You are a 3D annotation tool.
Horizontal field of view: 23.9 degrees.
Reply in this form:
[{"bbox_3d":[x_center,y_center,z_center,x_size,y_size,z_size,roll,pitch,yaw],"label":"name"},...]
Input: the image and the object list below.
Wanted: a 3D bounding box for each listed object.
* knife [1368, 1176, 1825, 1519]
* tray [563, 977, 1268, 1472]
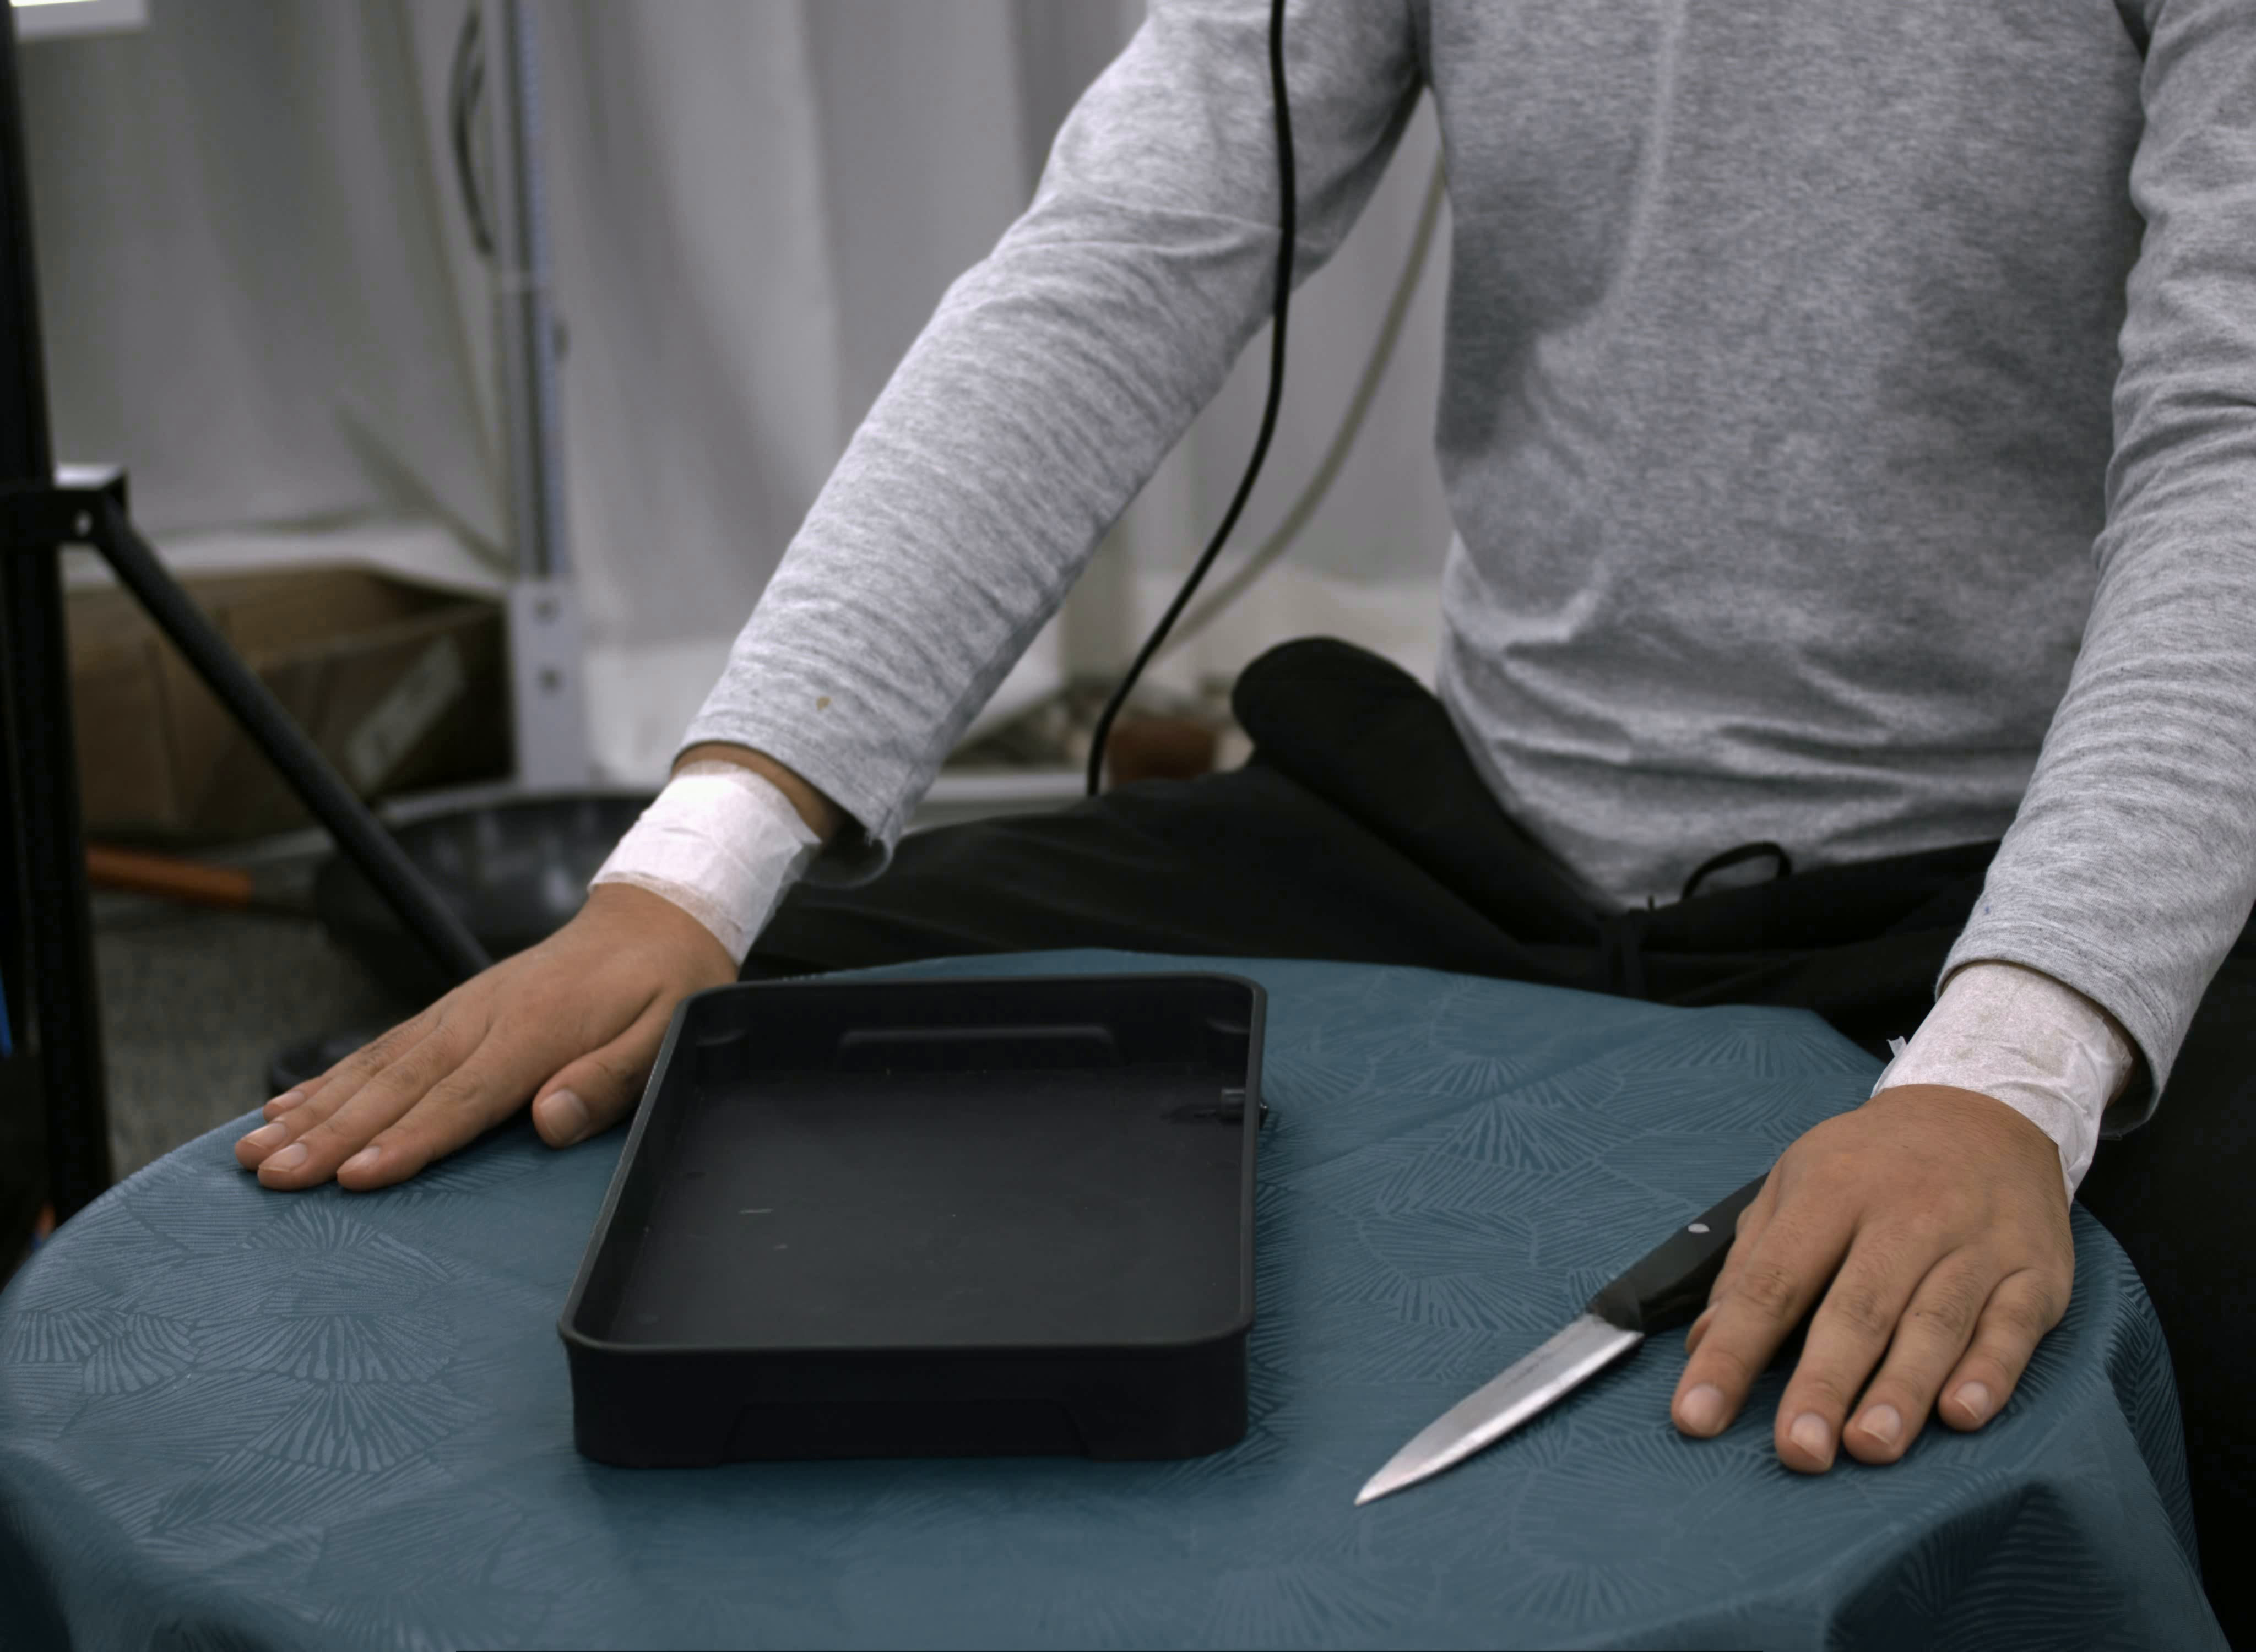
[{"bbox_3d":[0.125,0.139,1.414,0.025,0.016,0.233,7,21,34],"label":"knife"},{"bbox_3d":[-0.053,0.107,1.507,0.184,0.037,0.319,-1,15,2],"label":"tray"}]
